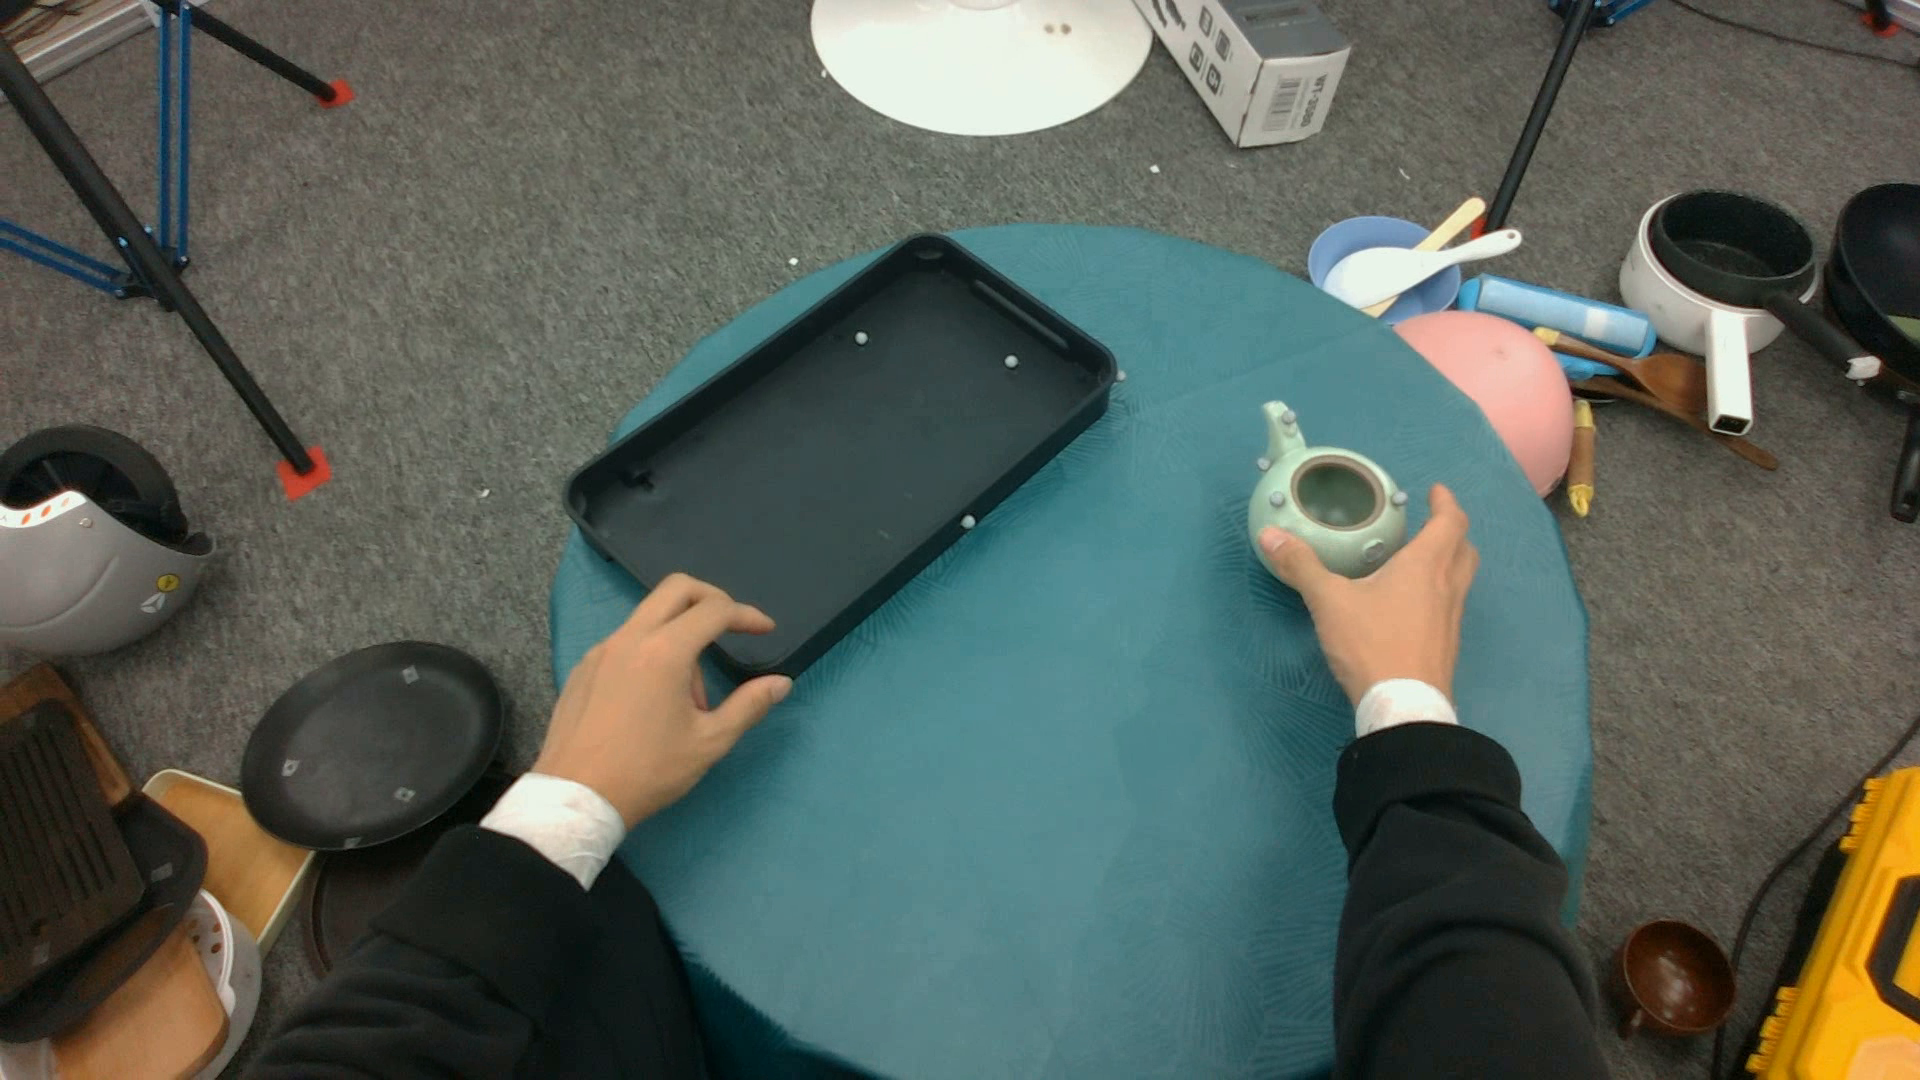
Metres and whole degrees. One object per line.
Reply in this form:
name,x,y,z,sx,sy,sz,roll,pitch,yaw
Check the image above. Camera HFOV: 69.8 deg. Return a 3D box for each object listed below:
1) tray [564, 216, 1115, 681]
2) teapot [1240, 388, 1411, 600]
tray,-0.067,-0.069,0.848,0.184,0.037,0.319,37,63,22
teapot,0.207,-0.018,0.796,0.088,0.074,0.144,-21,58,-14
